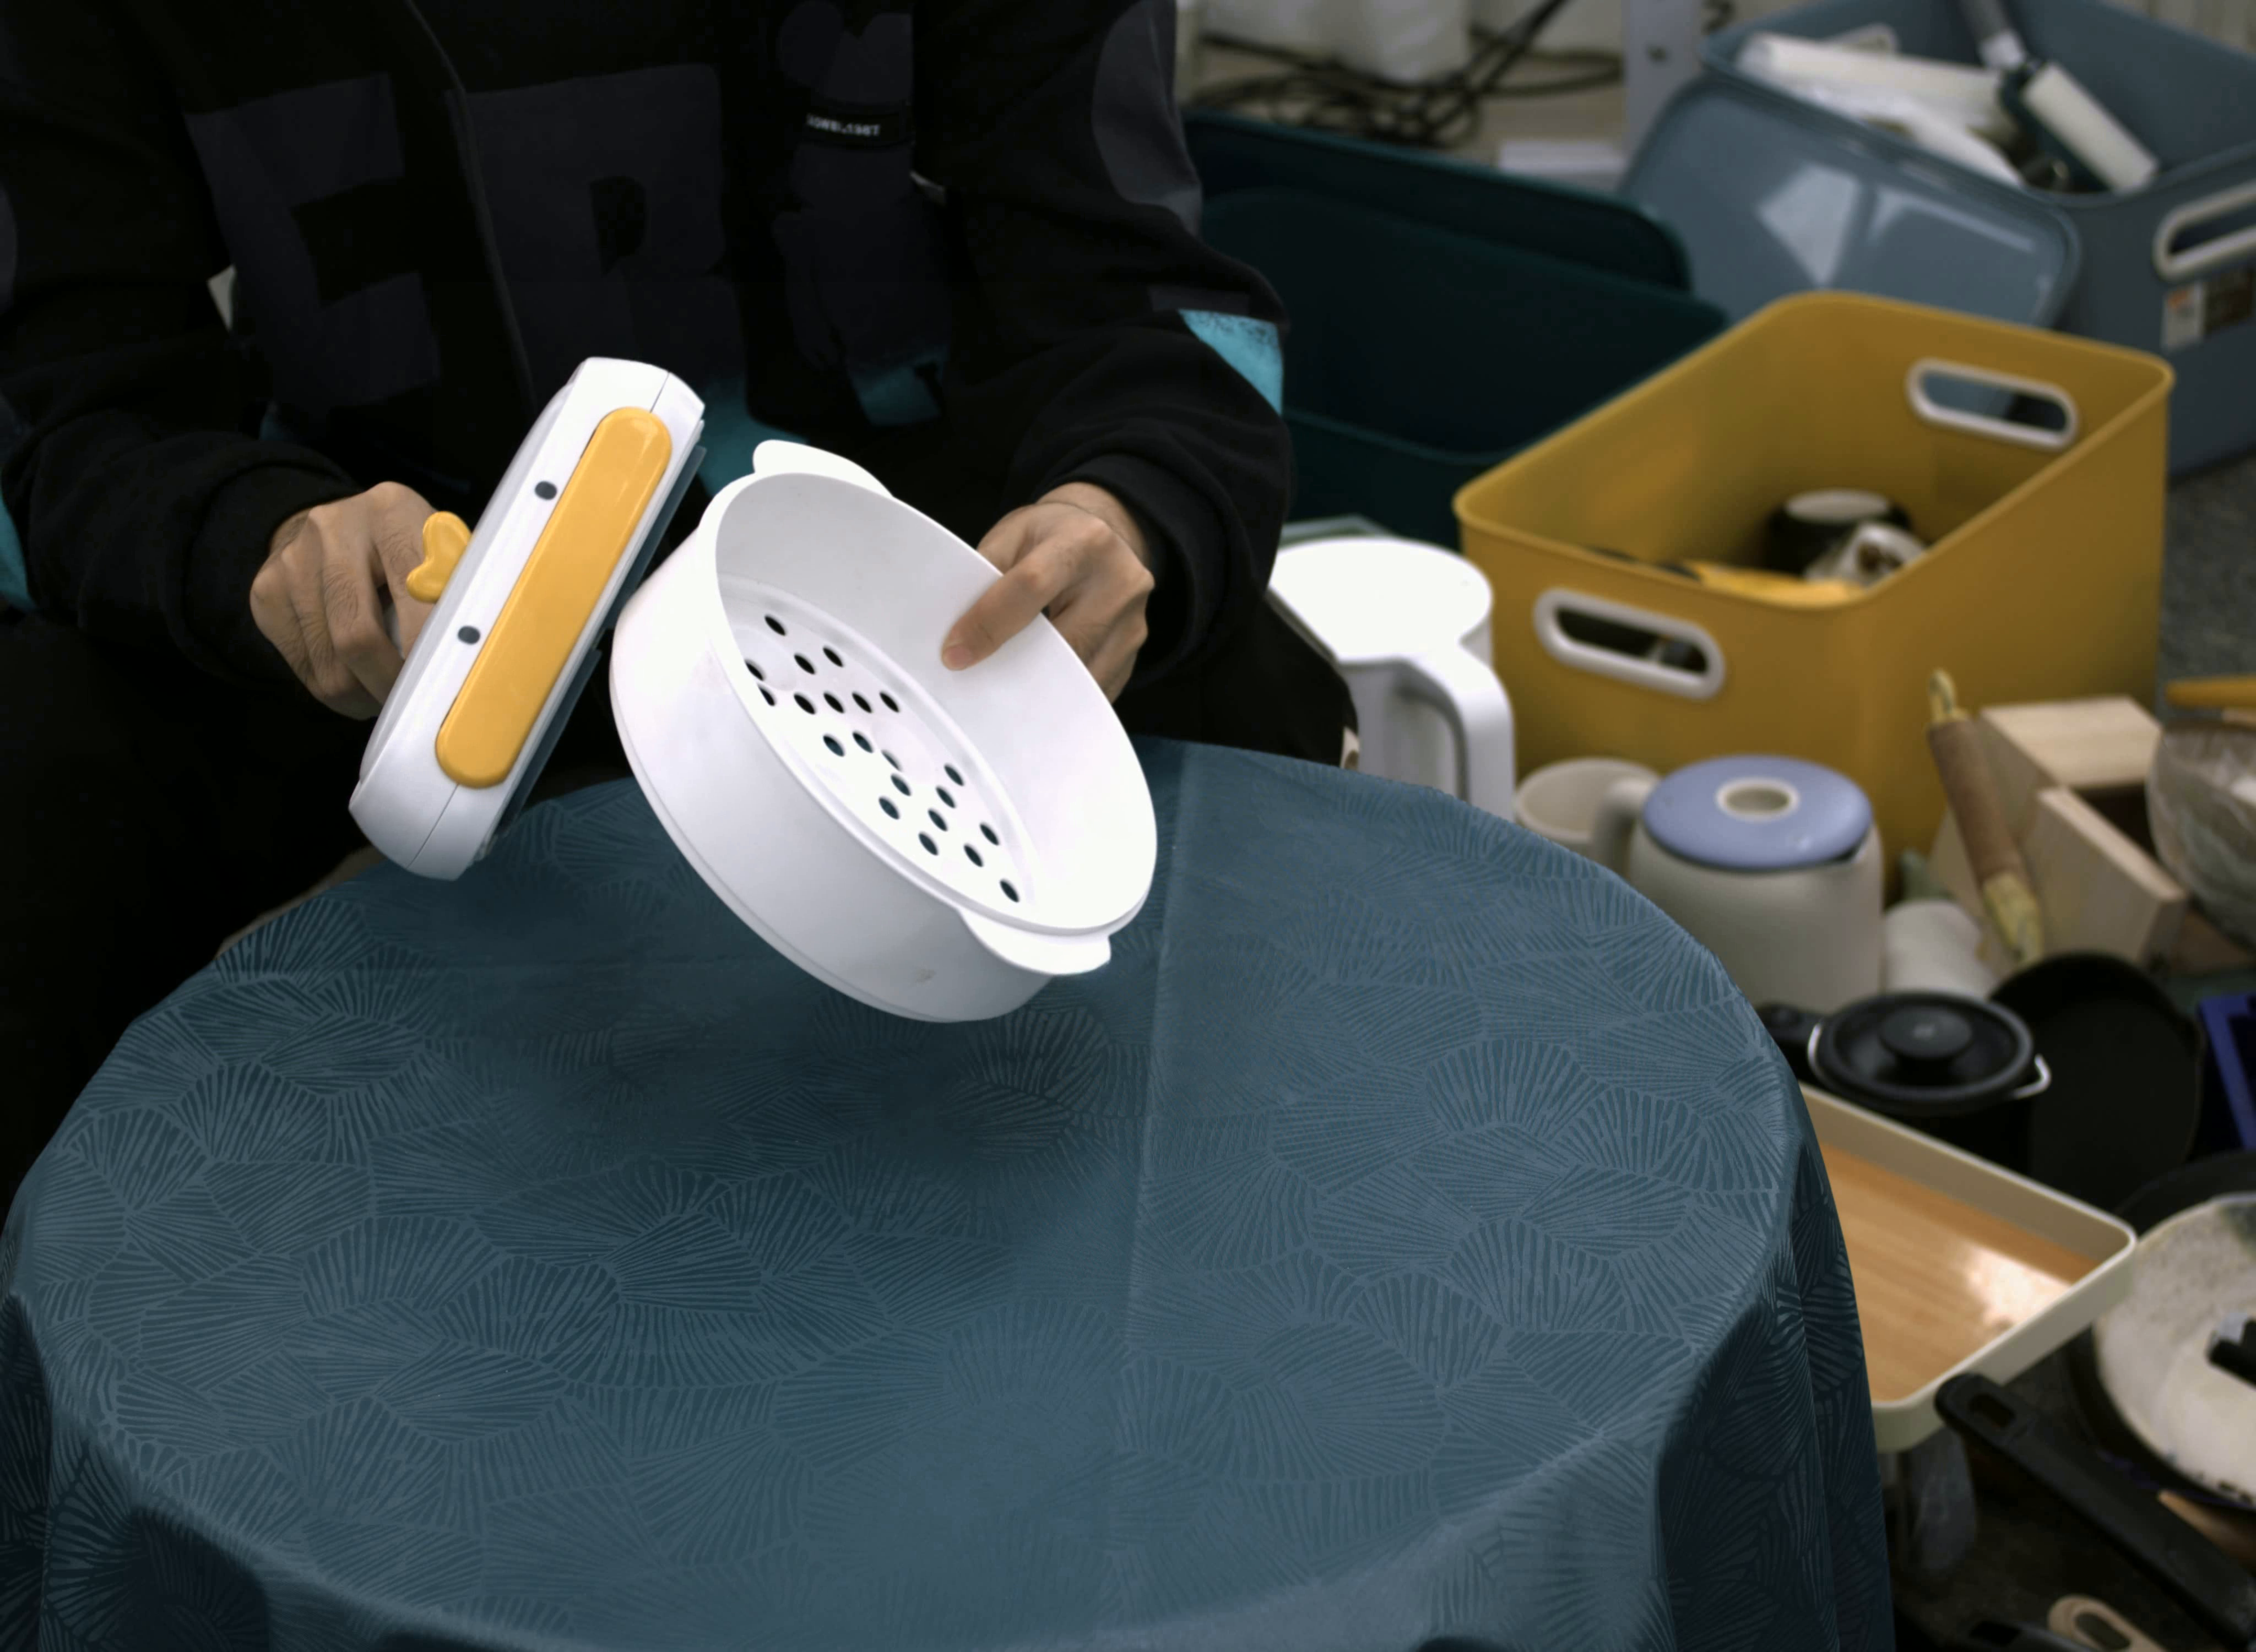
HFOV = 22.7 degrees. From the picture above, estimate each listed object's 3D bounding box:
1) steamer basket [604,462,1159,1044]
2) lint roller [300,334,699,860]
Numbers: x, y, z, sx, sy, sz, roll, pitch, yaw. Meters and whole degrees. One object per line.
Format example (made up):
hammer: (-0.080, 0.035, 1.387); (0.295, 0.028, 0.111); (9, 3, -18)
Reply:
steamer basket: (-0.084, -0.019, 1.900); (0.202, 0.068, 0.233); (14, 39, -49)
lint roller: (-0.231, -0.070, 1.952); (0.074, 0.196, 0.190); (27, -22, -18)
